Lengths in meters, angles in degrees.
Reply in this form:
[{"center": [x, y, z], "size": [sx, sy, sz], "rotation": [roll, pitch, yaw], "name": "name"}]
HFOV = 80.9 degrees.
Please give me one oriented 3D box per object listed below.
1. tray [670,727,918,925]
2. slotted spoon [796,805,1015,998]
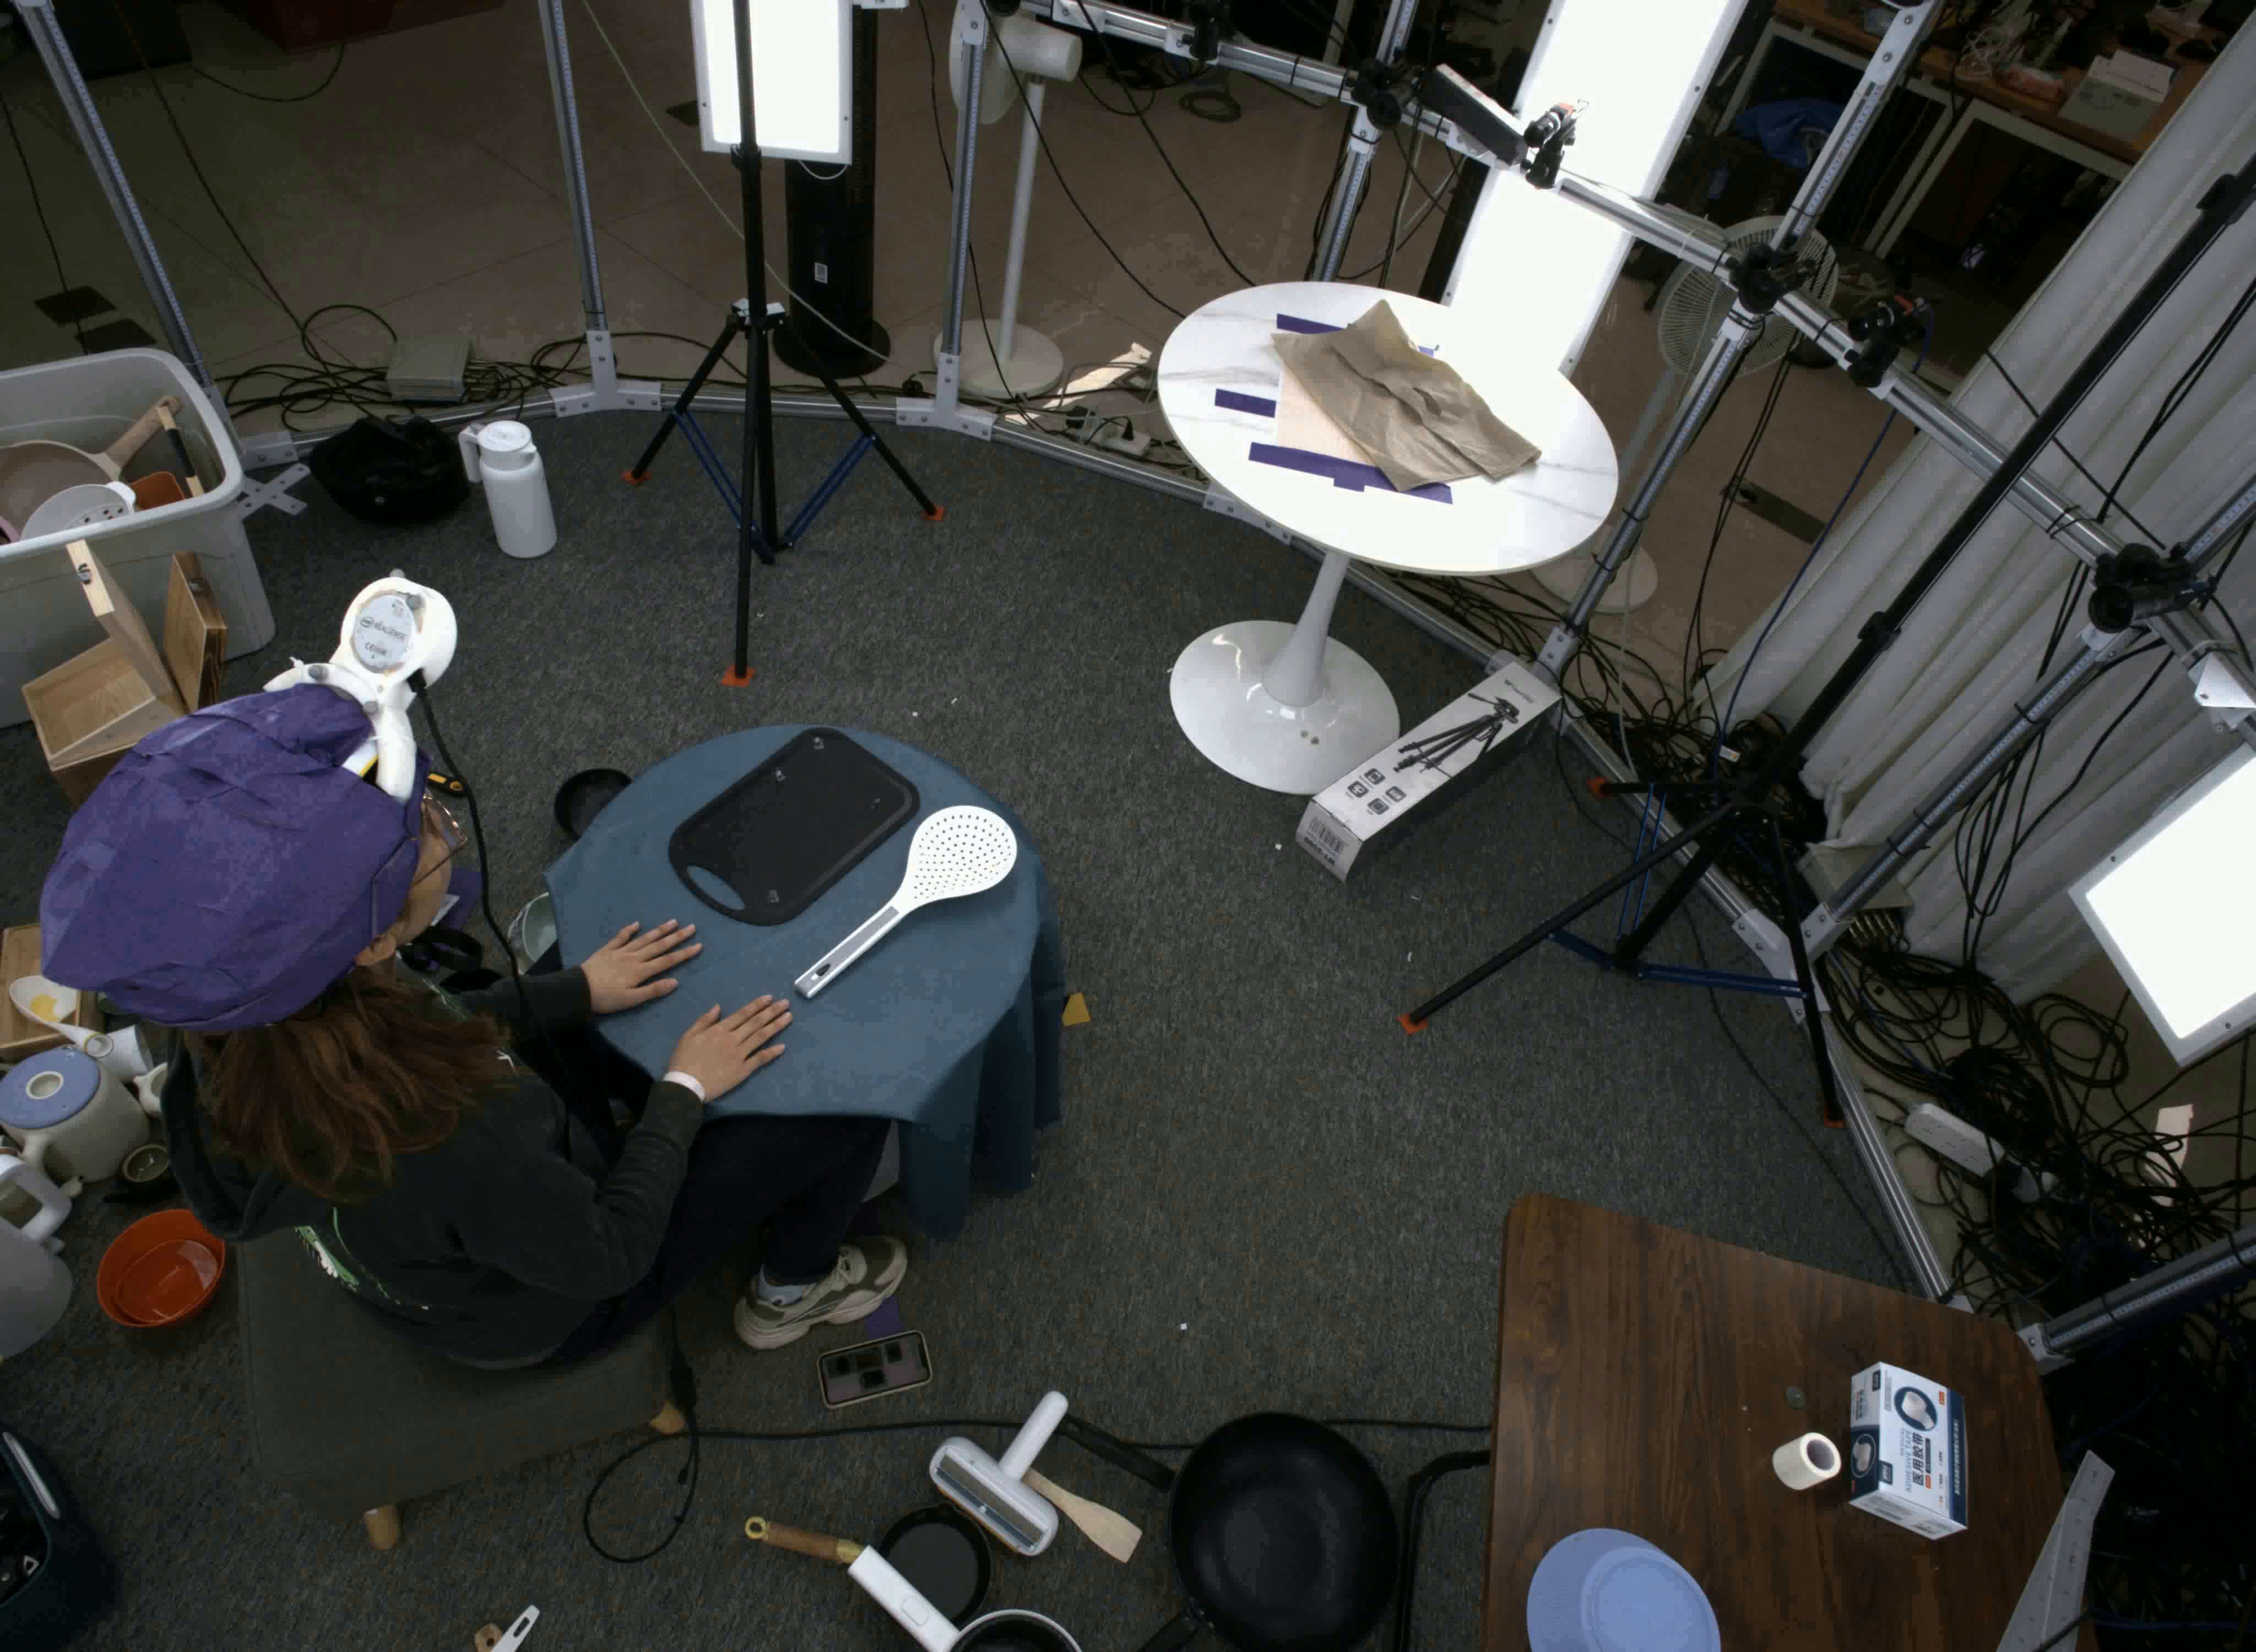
[{"center": [-0.445, -0.004, 1.722], "size": [0.207, 0.010, 0.325], "rotation": [35, 54, 13], "name": "tray"}, {"center": [-0.285, 0.096, 1.664], "size": [0.133, 0.047, 0.350], "rotation": [37, 55, 17], "name": "slotted spoon"}]
